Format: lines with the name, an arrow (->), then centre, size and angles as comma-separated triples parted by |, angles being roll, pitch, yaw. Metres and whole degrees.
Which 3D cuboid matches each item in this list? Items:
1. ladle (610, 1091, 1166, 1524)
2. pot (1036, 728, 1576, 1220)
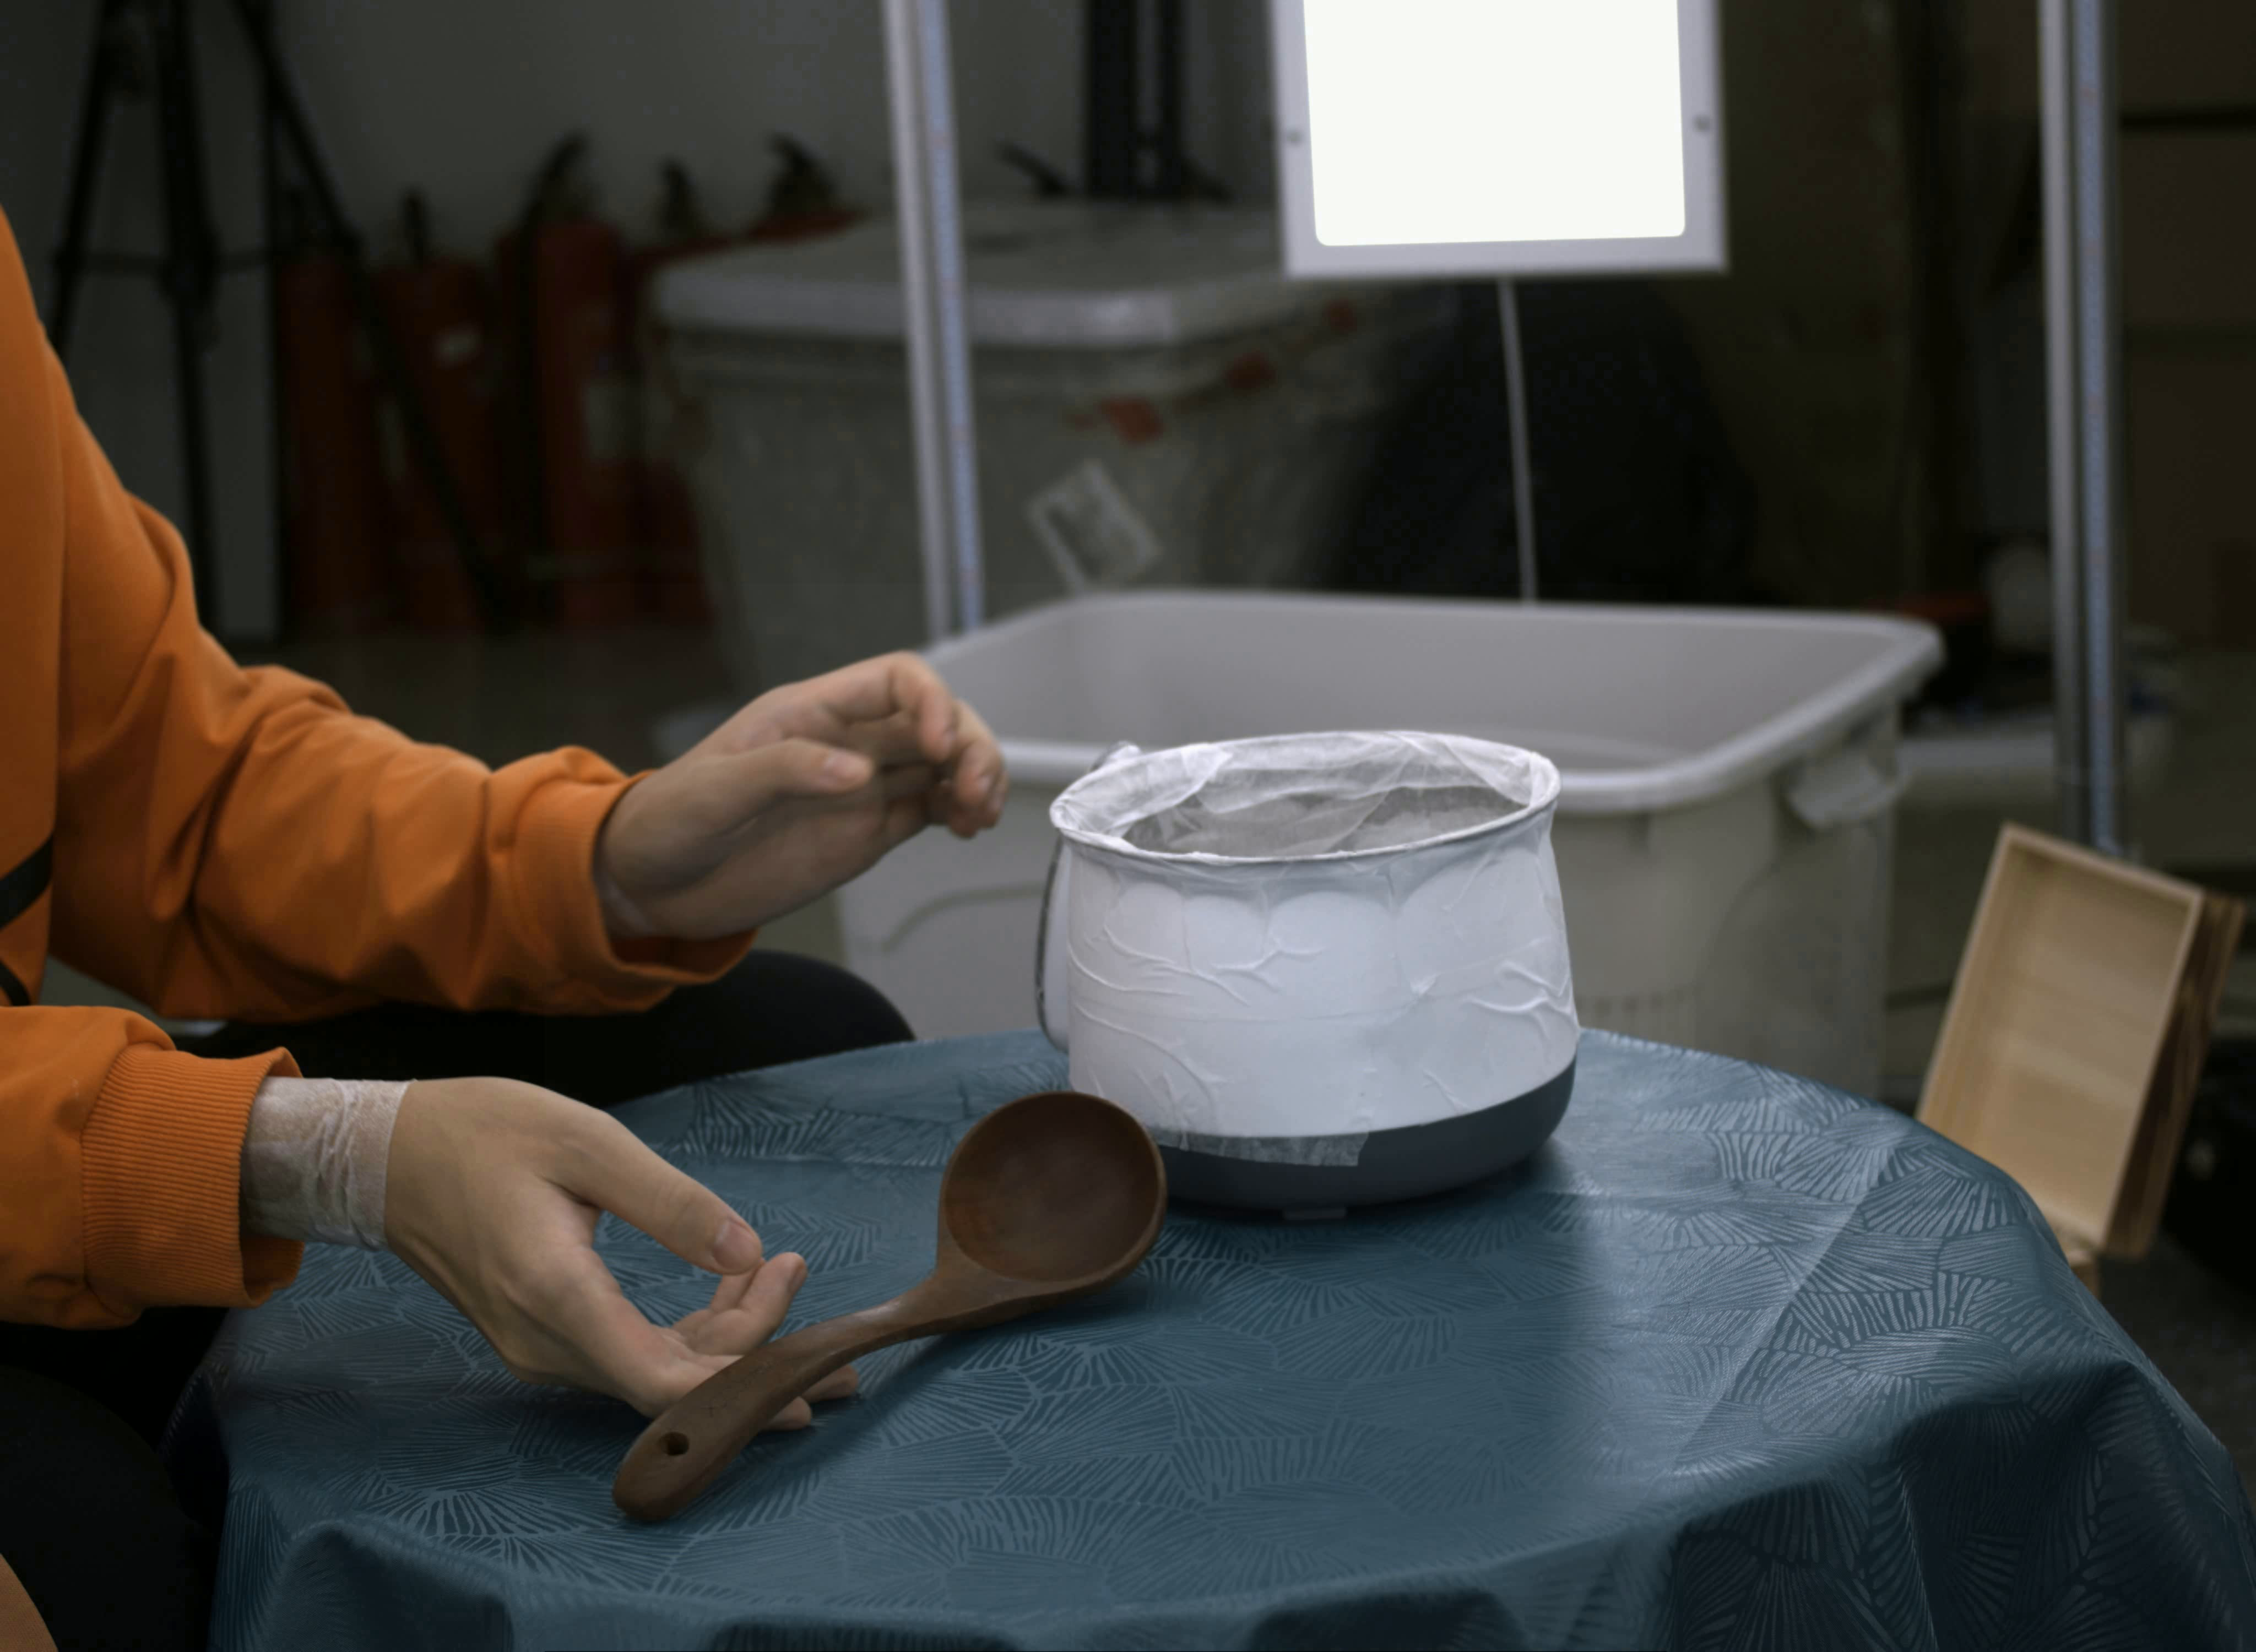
ladle -> -0.076, 0.146, 1.715 | 0.078, 0.065, 0.254 | 20, 24, 28
pot -> 0.048, 0.045, 1.920 | 0.174, 0.137, 0.238 | -15, 17, -37
